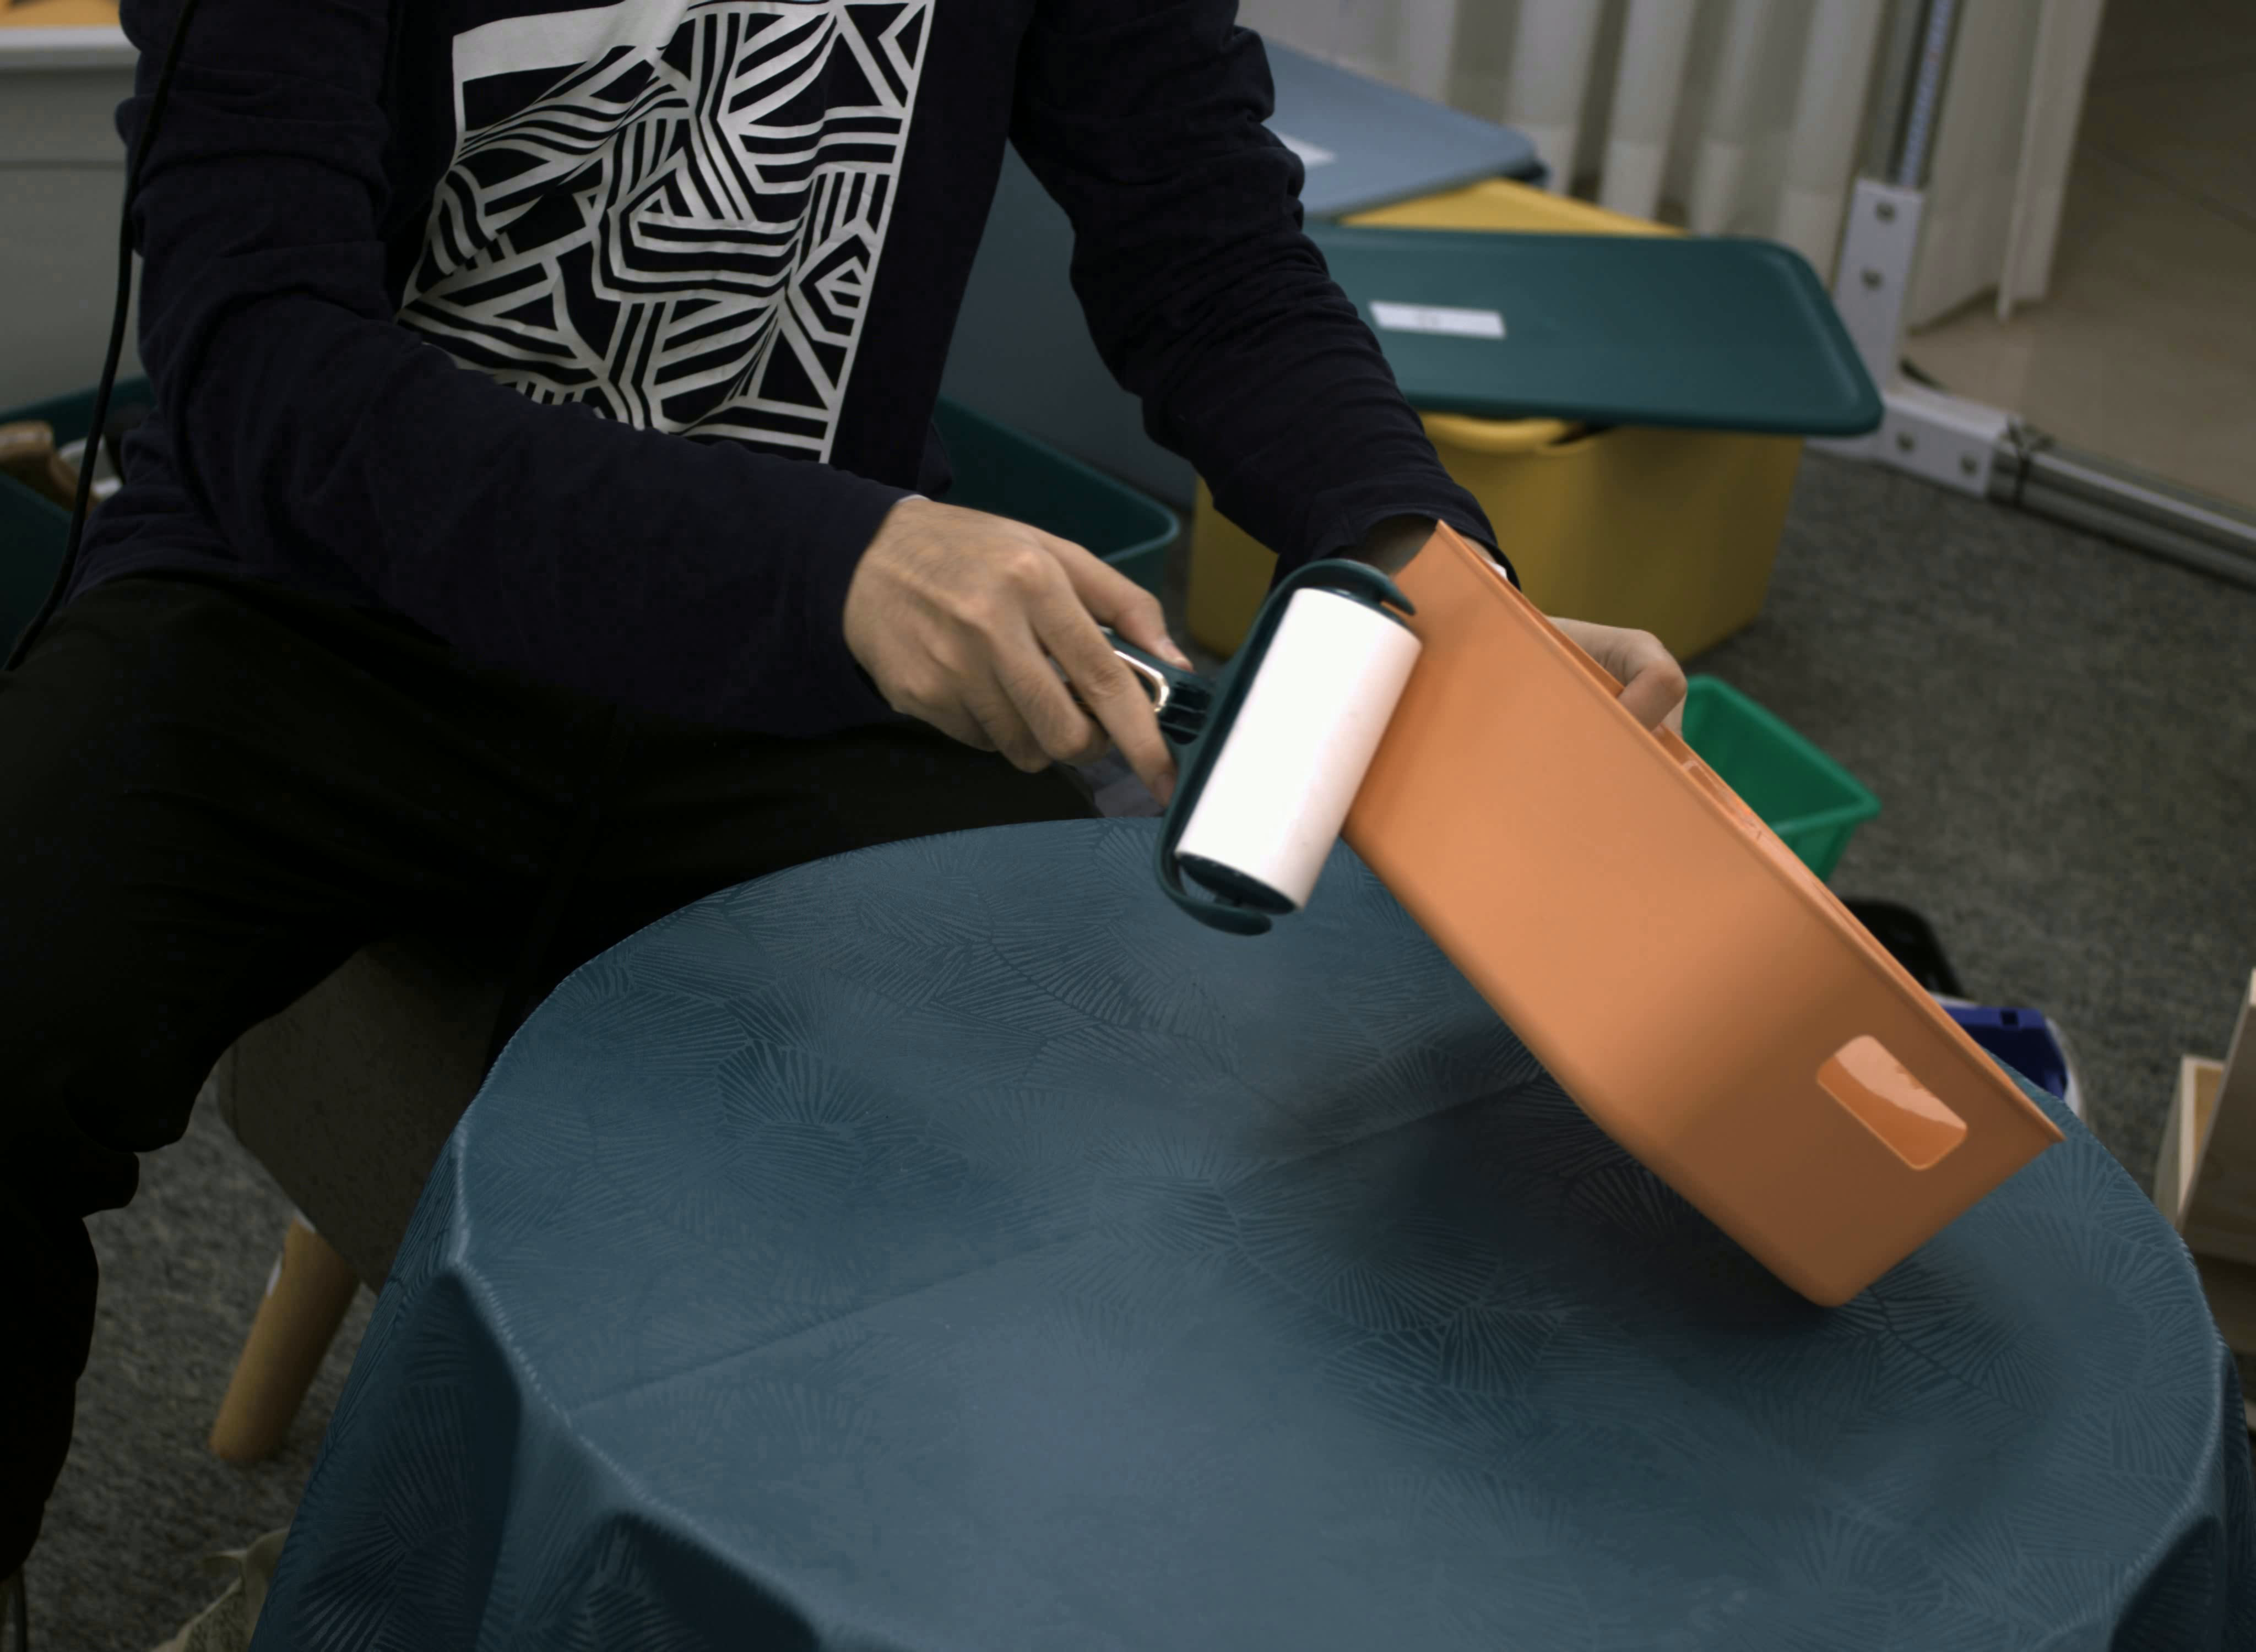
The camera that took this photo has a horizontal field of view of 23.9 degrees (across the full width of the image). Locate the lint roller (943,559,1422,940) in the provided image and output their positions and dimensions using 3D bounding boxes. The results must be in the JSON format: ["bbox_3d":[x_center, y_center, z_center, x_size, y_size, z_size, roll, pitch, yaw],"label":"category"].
[{"bbox_3d":[0.003,-0.045,1.812,0.181,0.135,0.048,19,-11,29],"label":"lint roller"}]

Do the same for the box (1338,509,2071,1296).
[{"bbox_3d":[0.176,0.029,1.802,0.197,0.102,0.276,40,7,-44],"label":"box"}]
